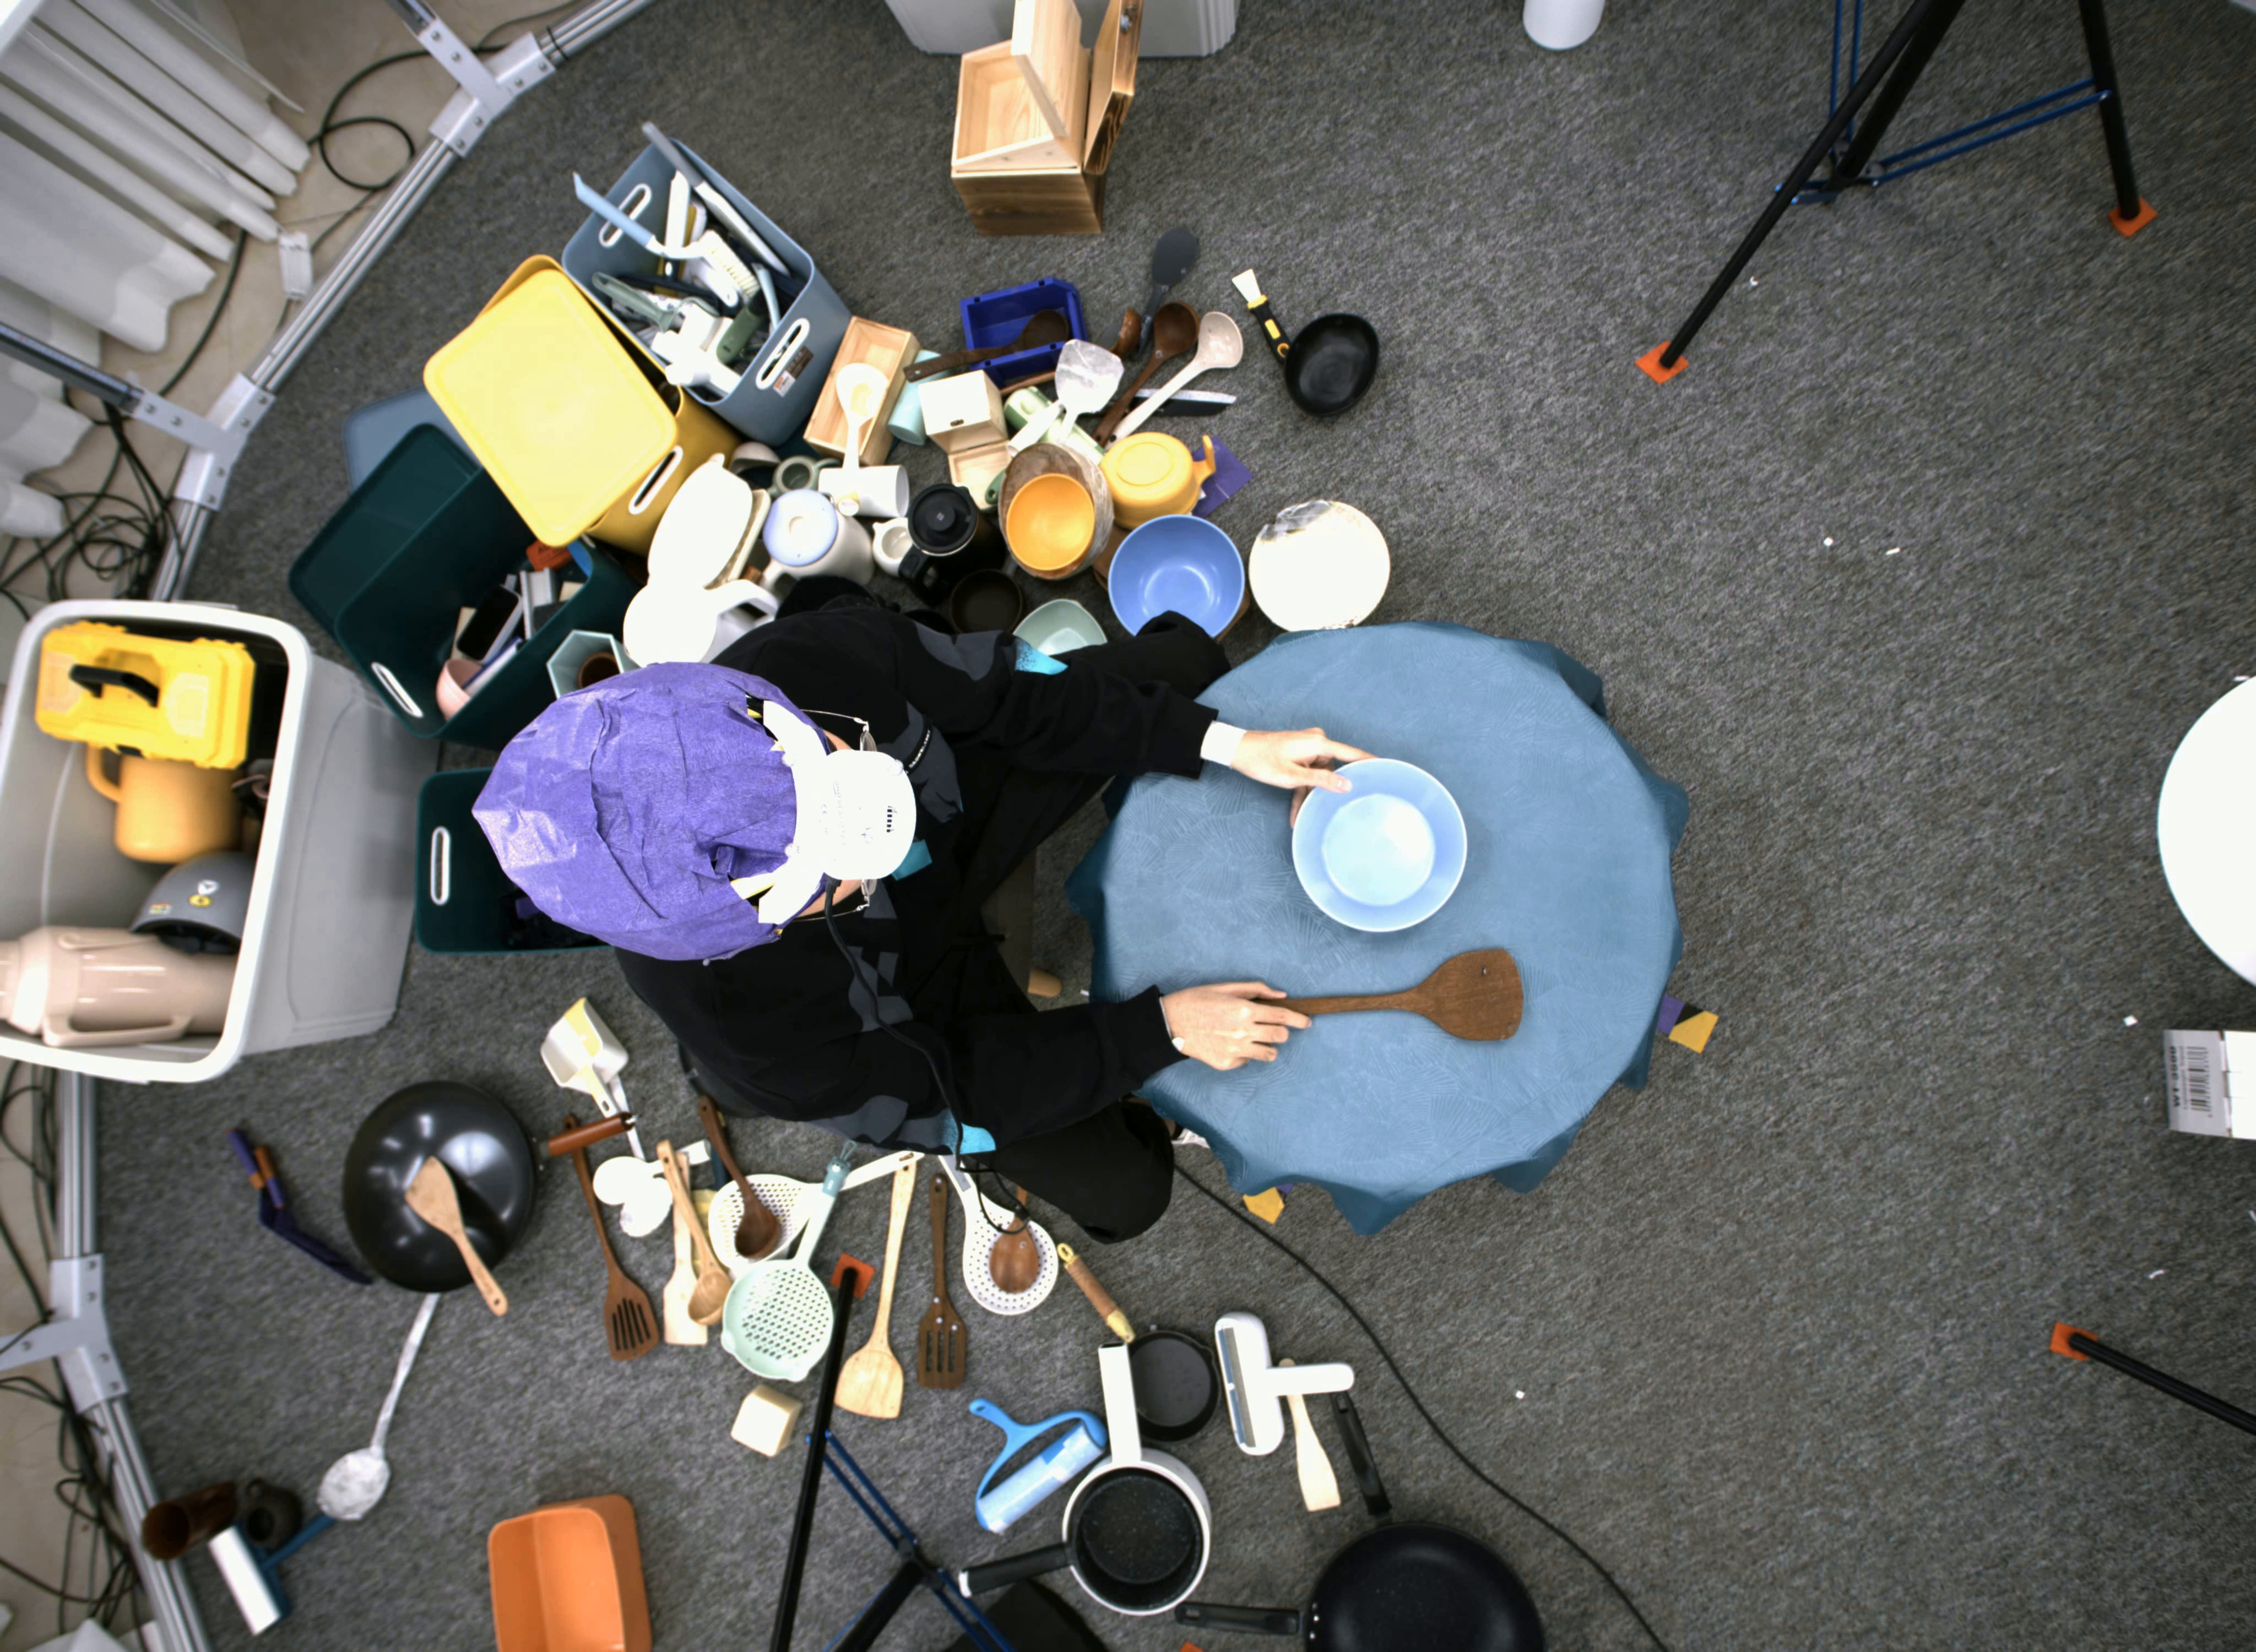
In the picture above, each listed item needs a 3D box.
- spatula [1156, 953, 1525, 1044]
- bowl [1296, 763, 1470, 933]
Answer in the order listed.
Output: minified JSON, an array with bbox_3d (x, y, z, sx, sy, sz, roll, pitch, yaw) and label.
[{"bbox_3d":[0.219,0.190,1.453,0.388,0.016,0.094,-5,71,11],"label":"spatula"},{"bbox_3d":[0.264,0.024,1.434,0.177,0.070,0.175,-1,85,11],"label":"bowl"}]
